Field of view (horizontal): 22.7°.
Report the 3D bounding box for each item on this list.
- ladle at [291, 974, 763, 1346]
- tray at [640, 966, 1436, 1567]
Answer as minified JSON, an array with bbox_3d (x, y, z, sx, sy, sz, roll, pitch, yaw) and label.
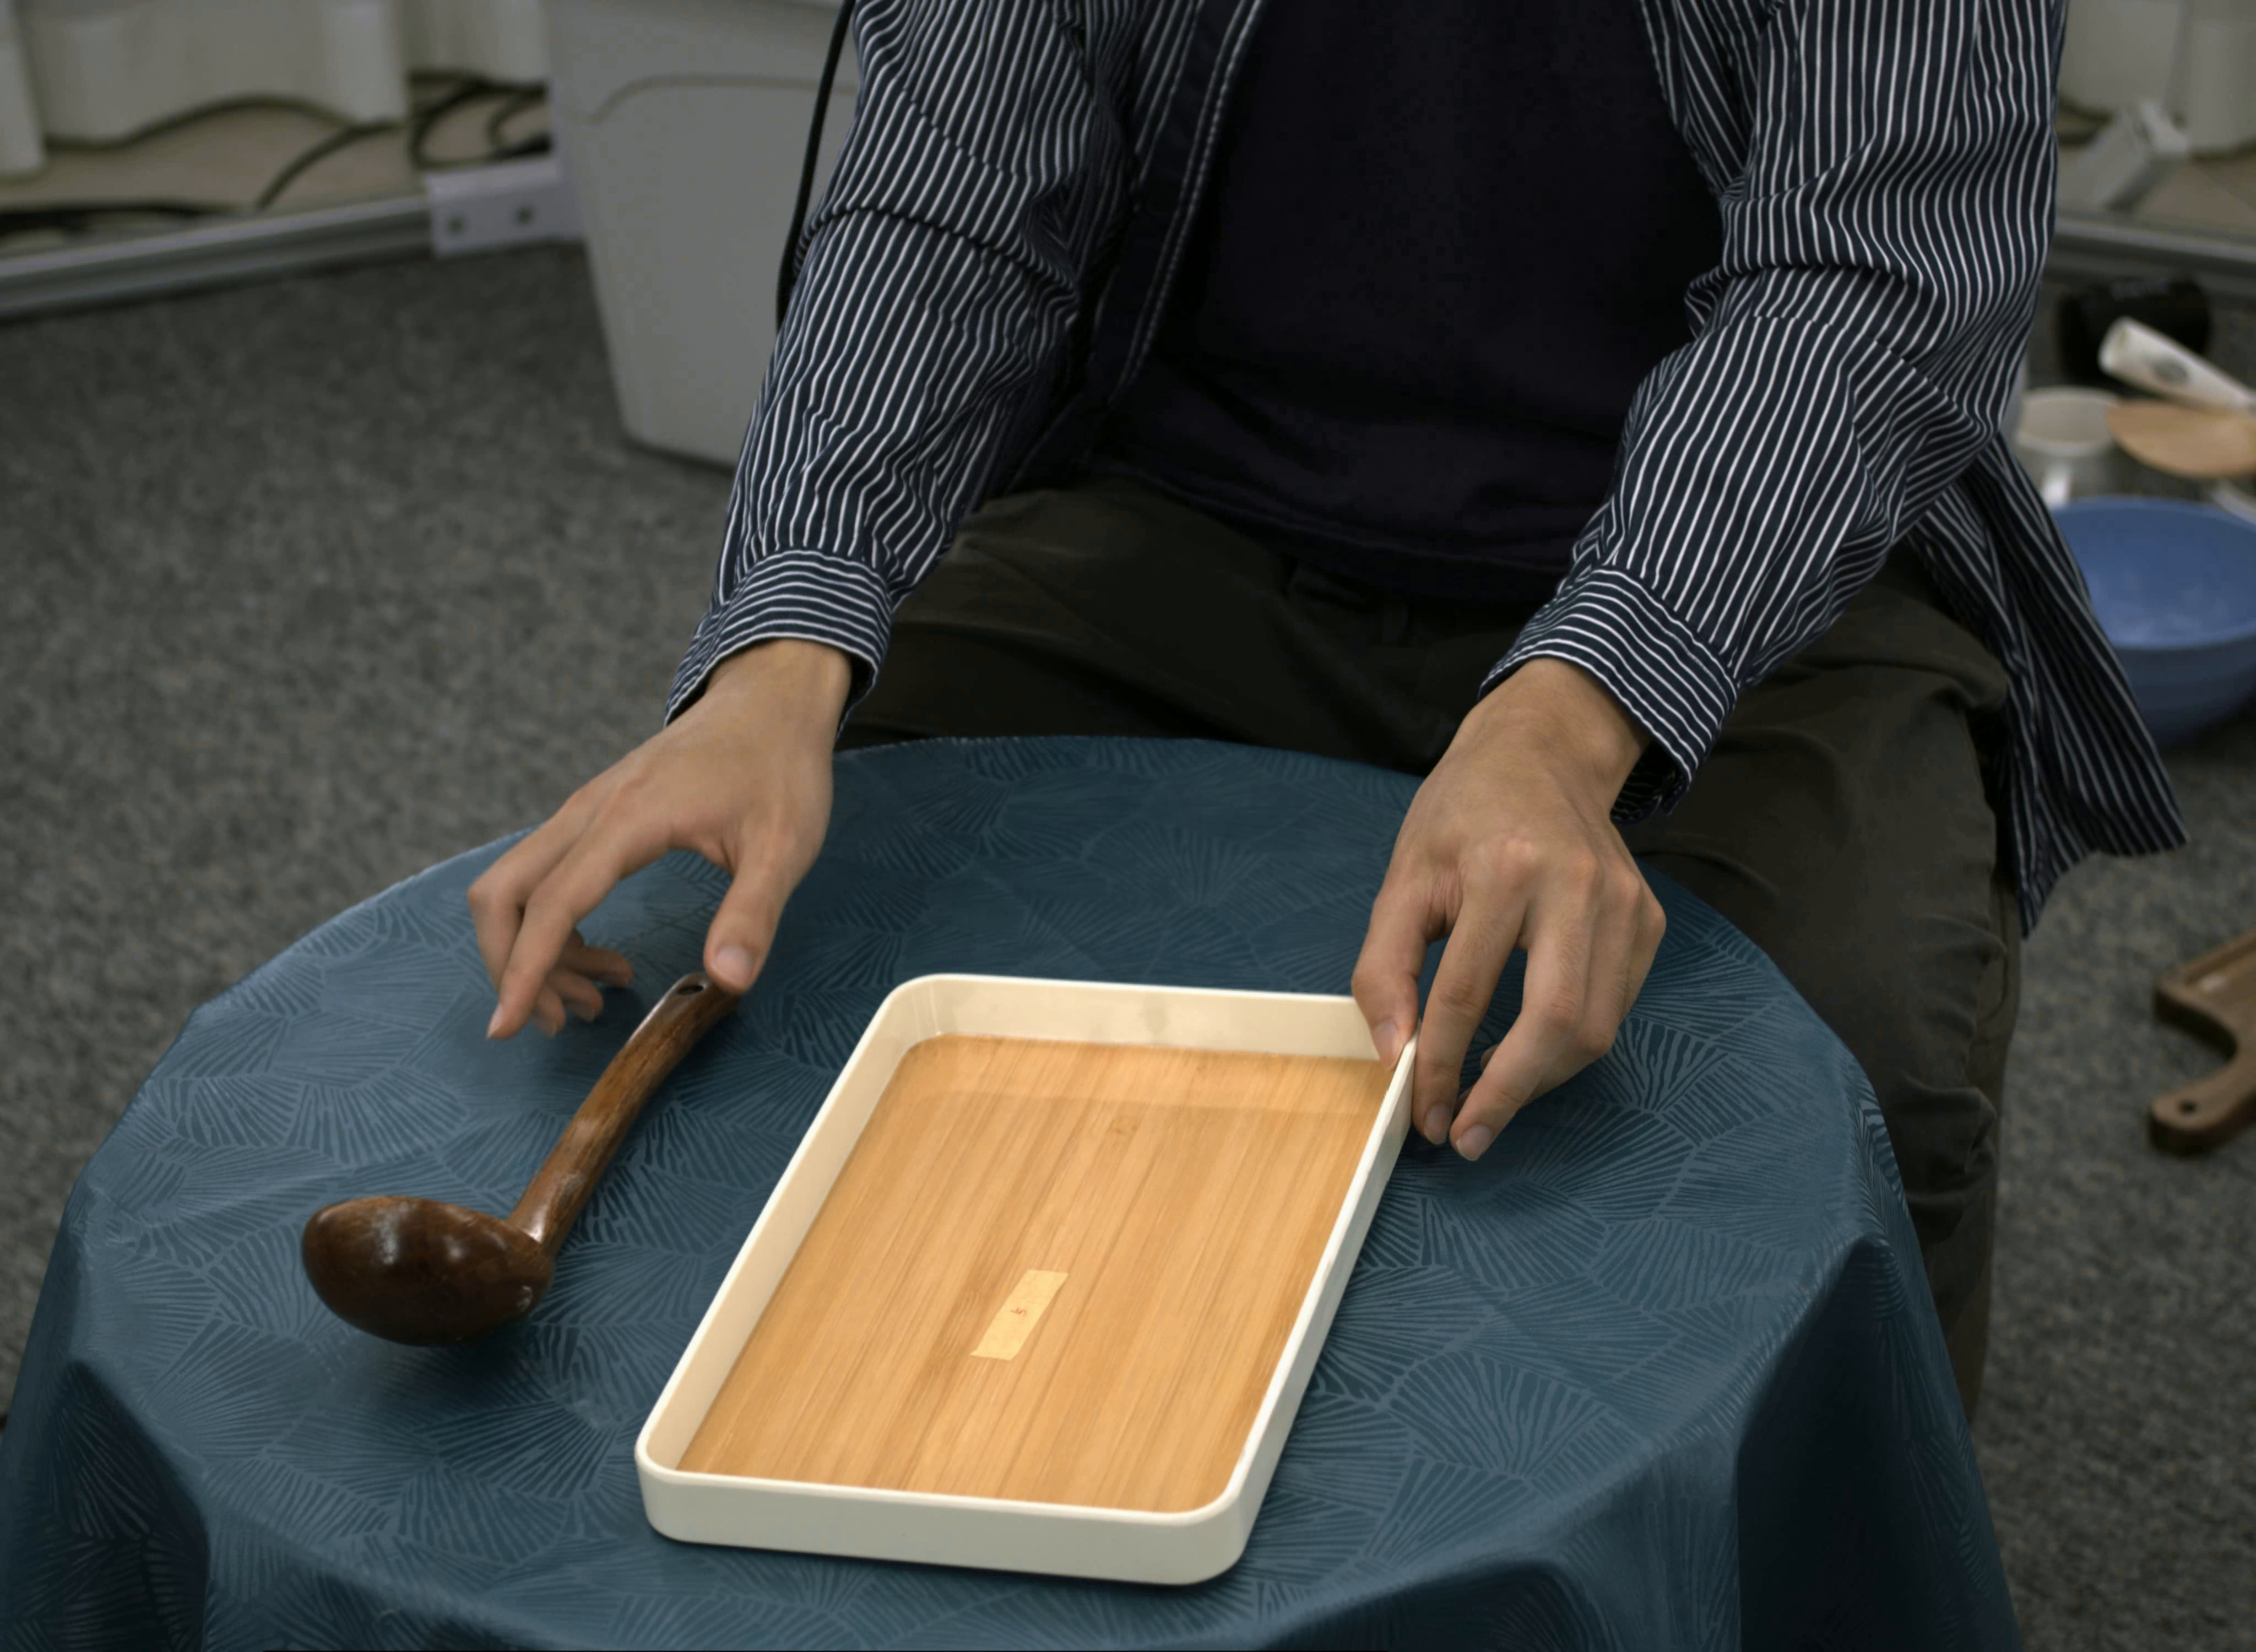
[{"bbox_3d":[-0.189,0.090,1.854,0.081,0.076,0.279,2,28,20],"label":"ladle"},{"bbox_3d":[-0.022,0.134,1.796,0.190,0.027,0.305,3,29,15],"label":"tray"}]
